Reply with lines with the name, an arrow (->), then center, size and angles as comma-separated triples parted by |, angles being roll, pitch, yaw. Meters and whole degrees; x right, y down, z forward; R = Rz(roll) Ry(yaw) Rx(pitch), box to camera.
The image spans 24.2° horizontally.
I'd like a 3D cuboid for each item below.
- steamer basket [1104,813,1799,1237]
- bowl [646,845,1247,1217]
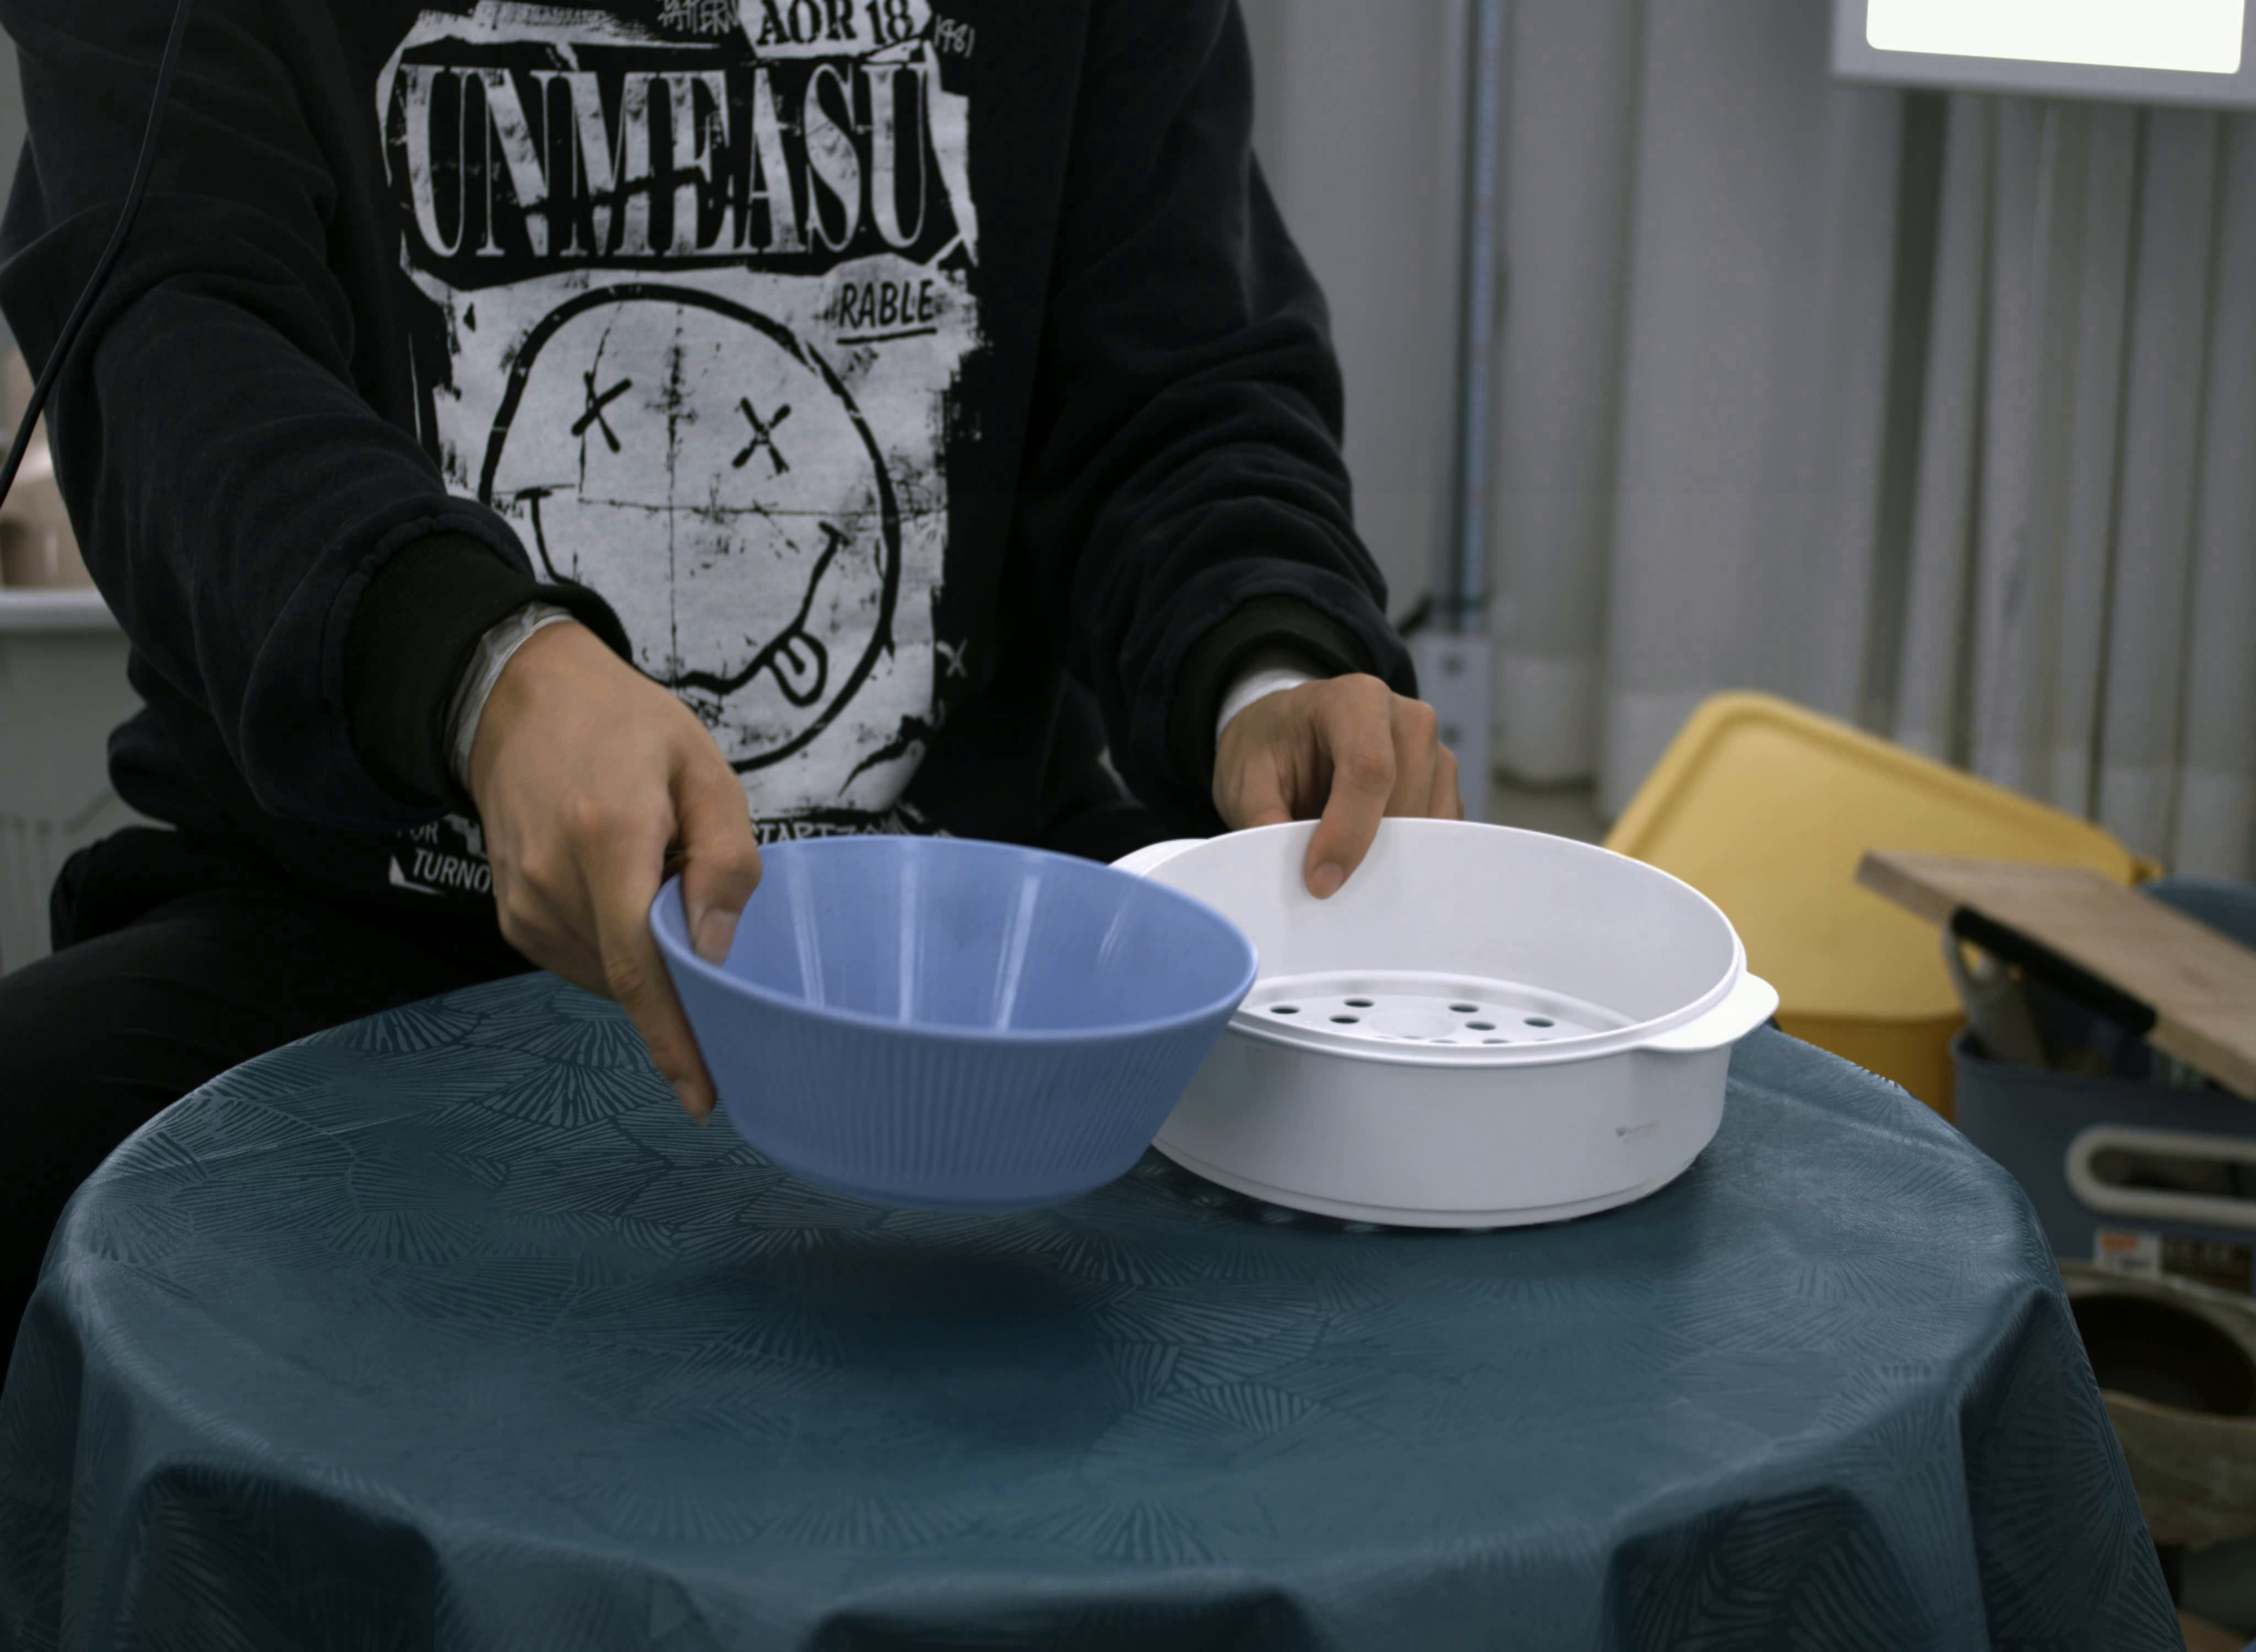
steamer basket -> 0.097, 0.062, 1.662 | 0.228, 0.070, 0.202 | 17, 25, 27
bowl -> -0.056, 0.062, 1.531 | 0.175, 0.071, 0.175 | 7, 17, -2
